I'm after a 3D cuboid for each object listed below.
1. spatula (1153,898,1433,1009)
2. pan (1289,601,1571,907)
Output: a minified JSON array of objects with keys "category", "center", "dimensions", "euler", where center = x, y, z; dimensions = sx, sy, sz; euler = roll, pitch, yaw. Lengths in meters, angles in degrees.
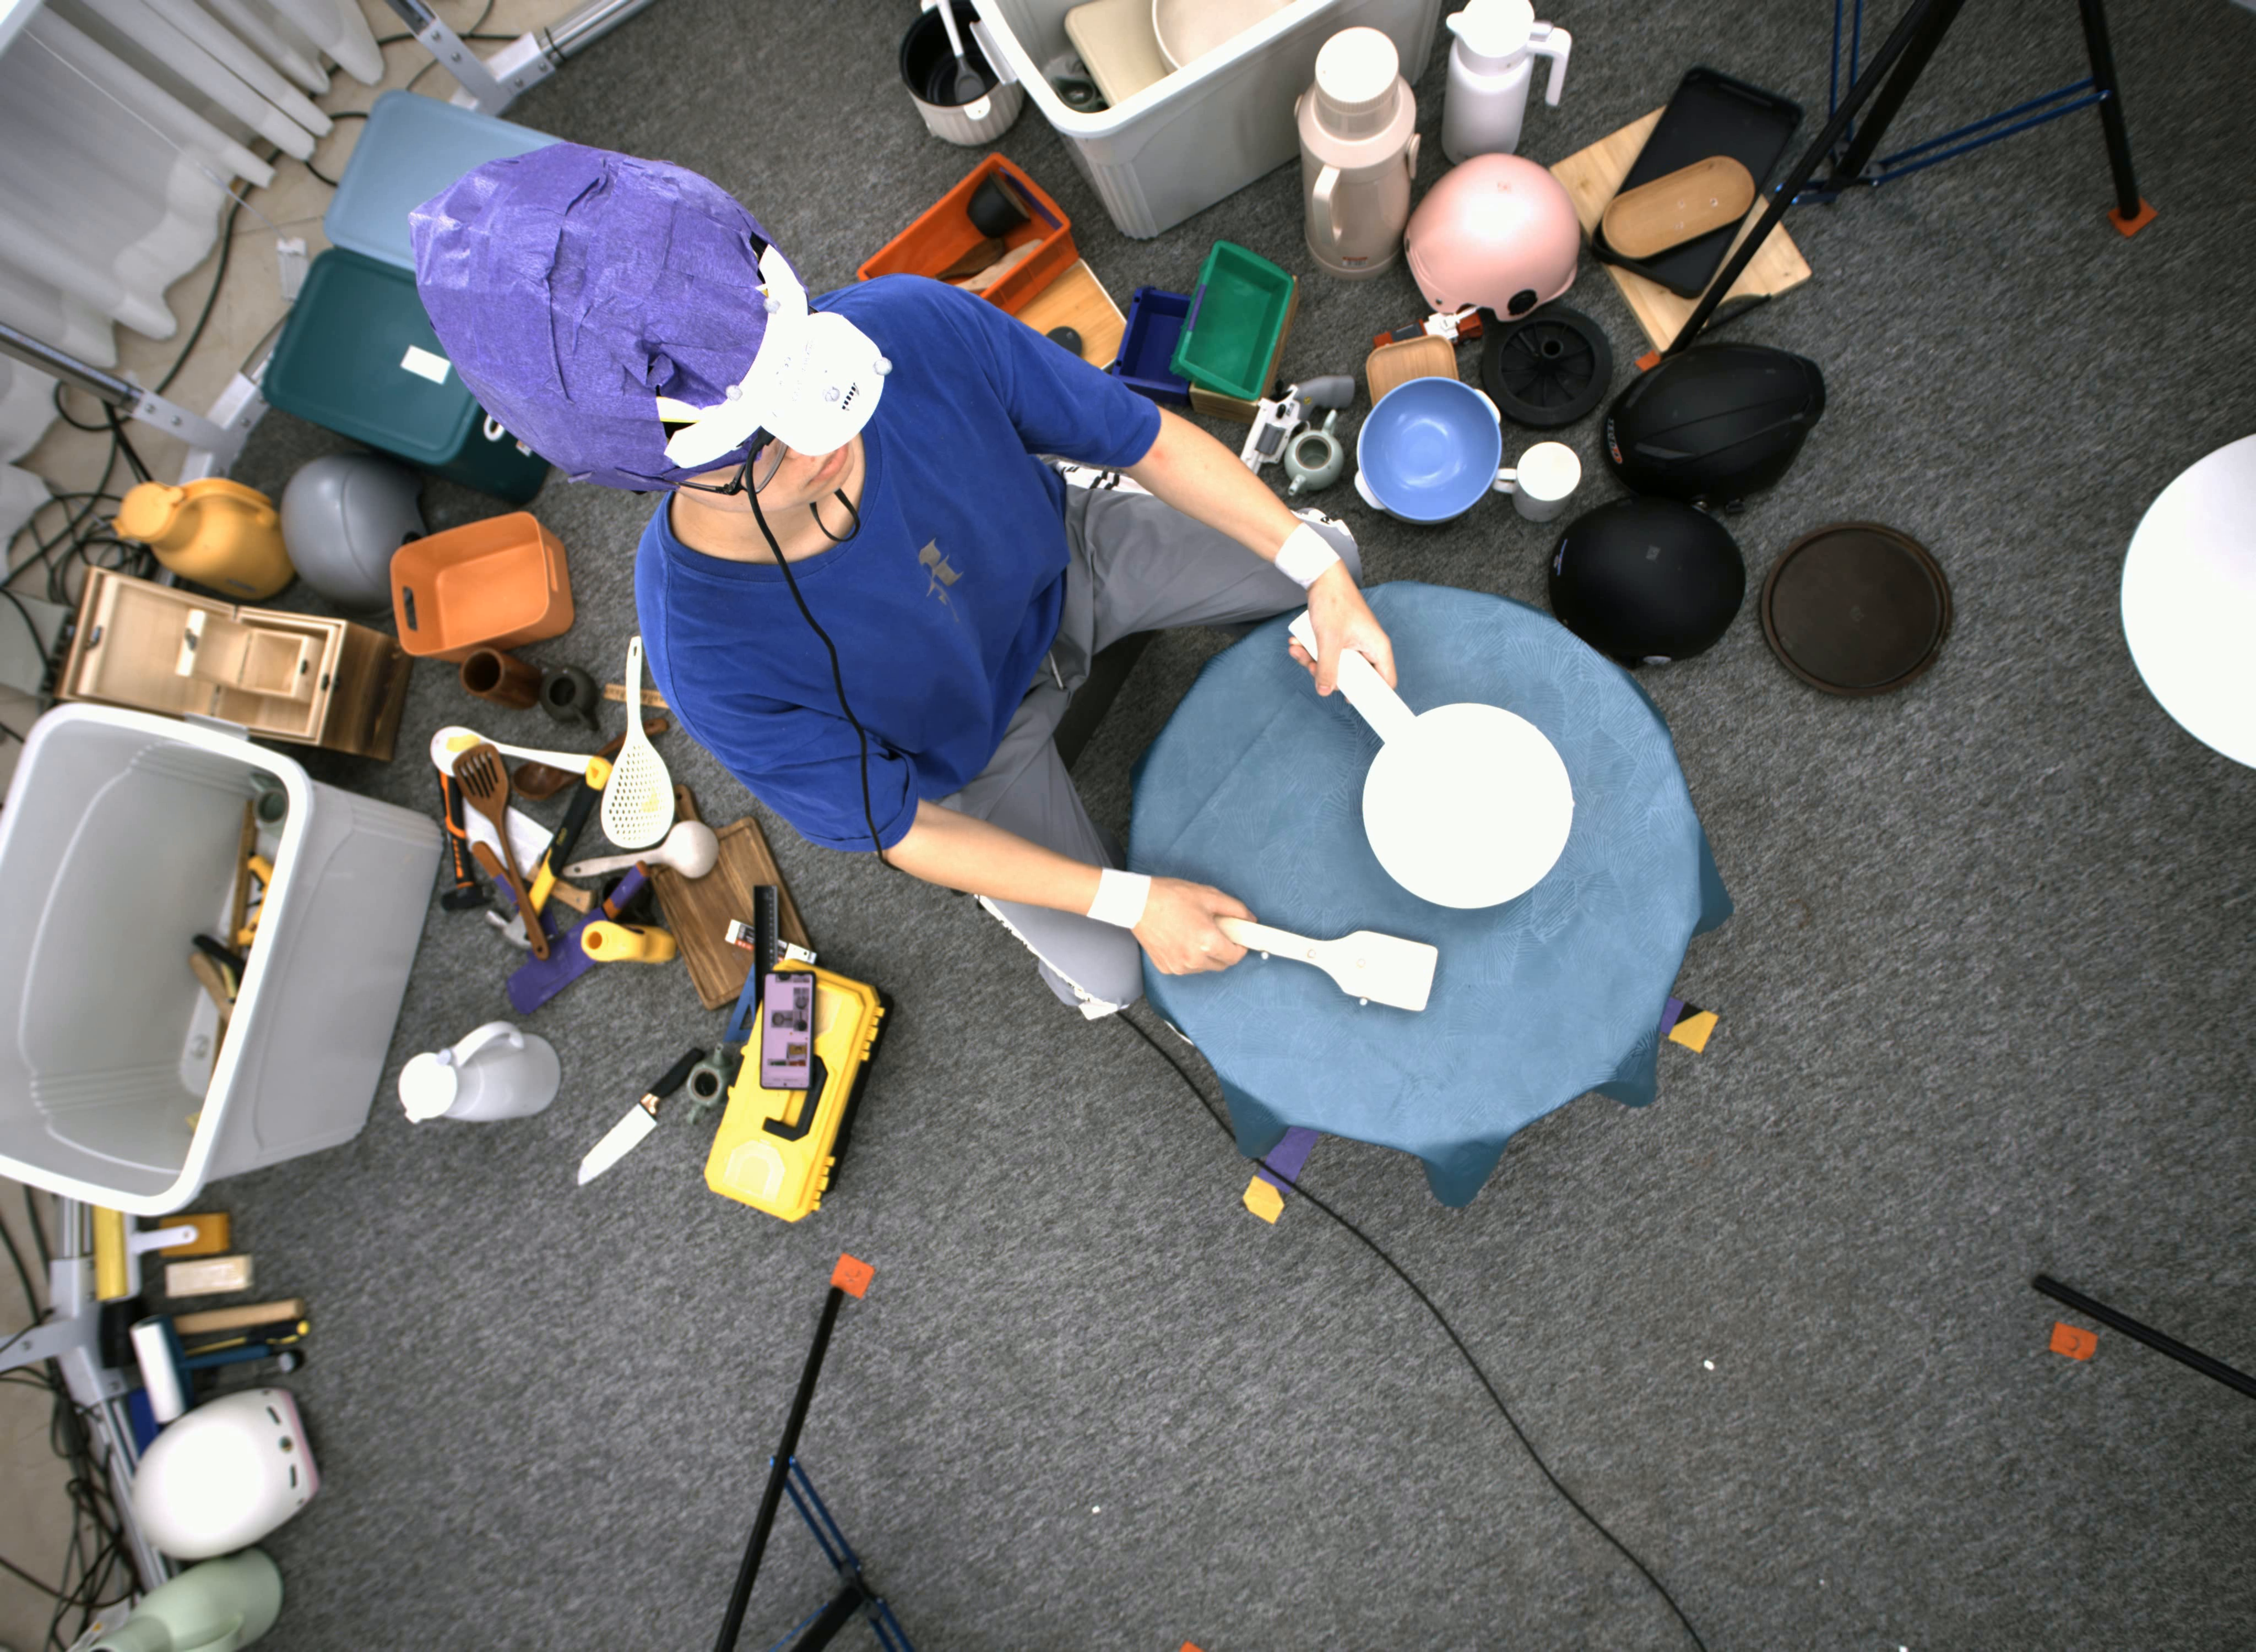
[{"category":"spatula","center":[0.168,0.122,1.445],"dimensions":[0.293,0.011,0.071],"euler":[14,79,9]},{"category":"pan","center":[0.293,-0.080,1.404],"dimensions":[0.203,0.101,0.353],"euler":[-41,83,11]}]
